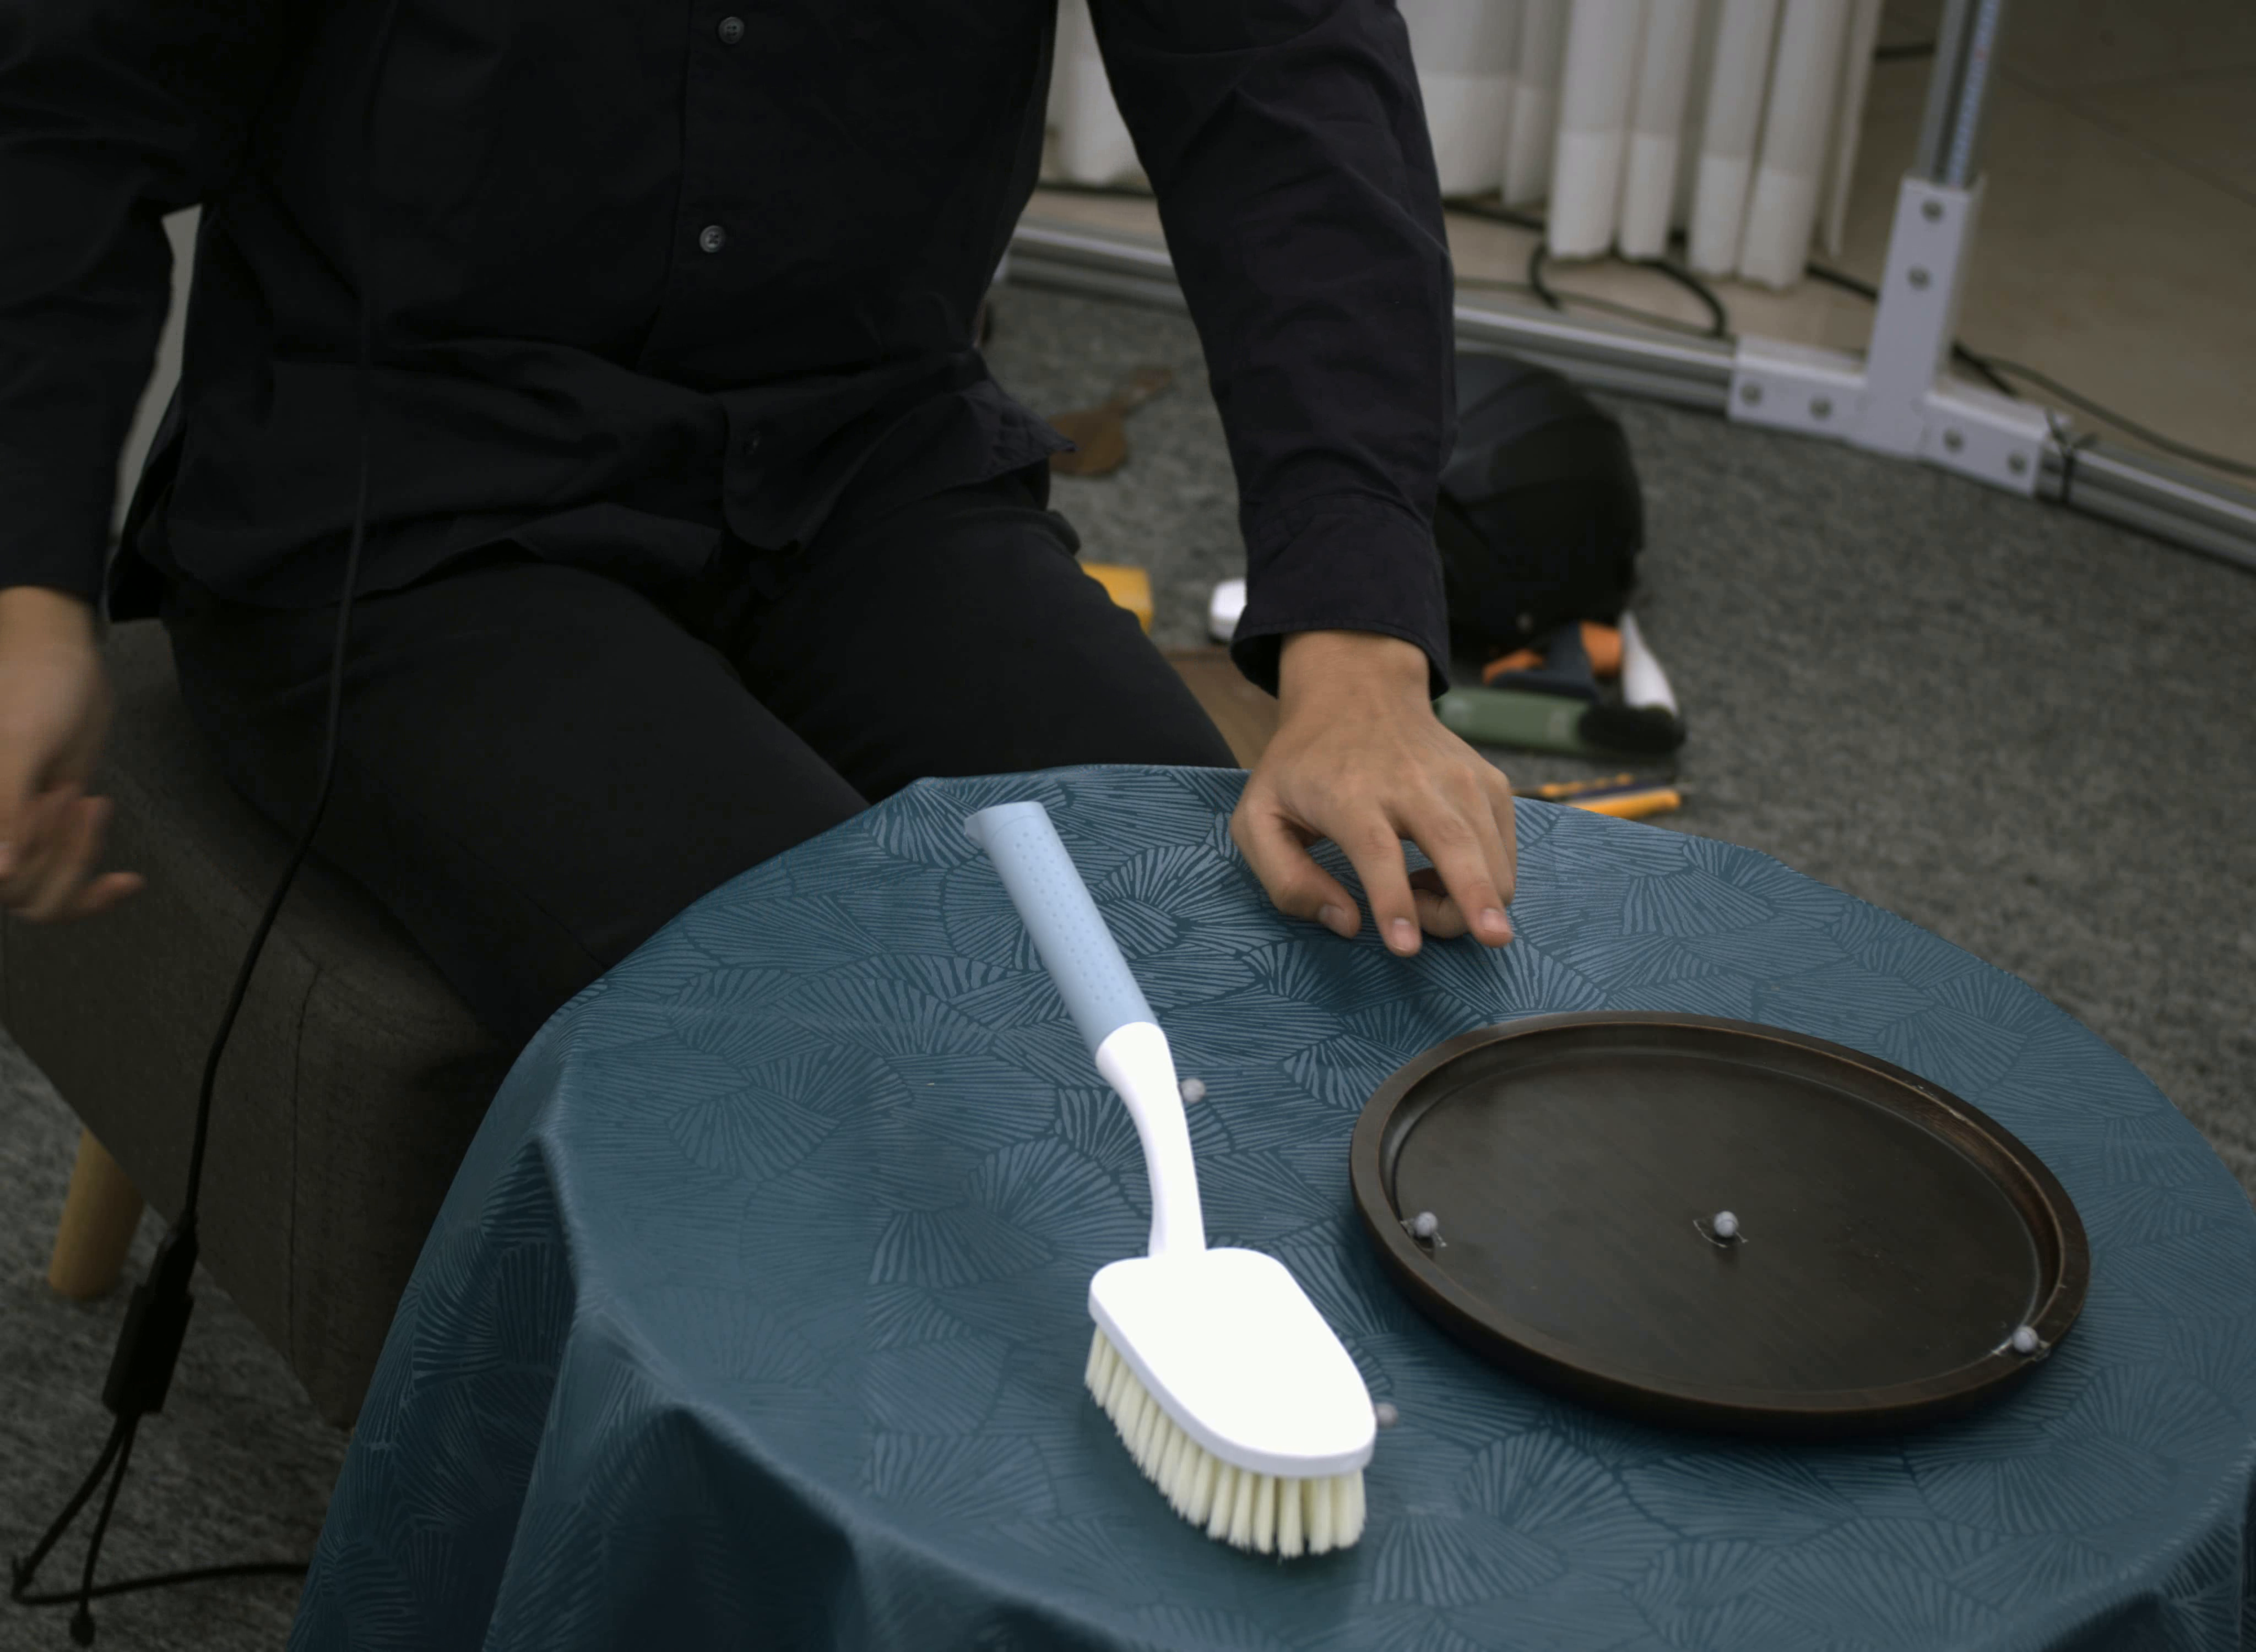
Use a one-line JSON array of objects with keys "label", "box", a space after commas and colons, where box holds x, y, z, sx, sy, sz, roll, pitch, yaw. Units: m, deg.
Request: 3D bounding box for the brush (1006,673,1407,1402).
[{"label": "brush", "box": [0.019, 0.077, 1.753, 0.082, 0.084, 0.328, 33, 20, -41]}]

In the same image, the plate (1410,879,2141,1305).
[{"label": "plate", "box": [0.221, 0.091, 1.832, 0.254, 0.029, 0.256, 4, 29, -2]}]
